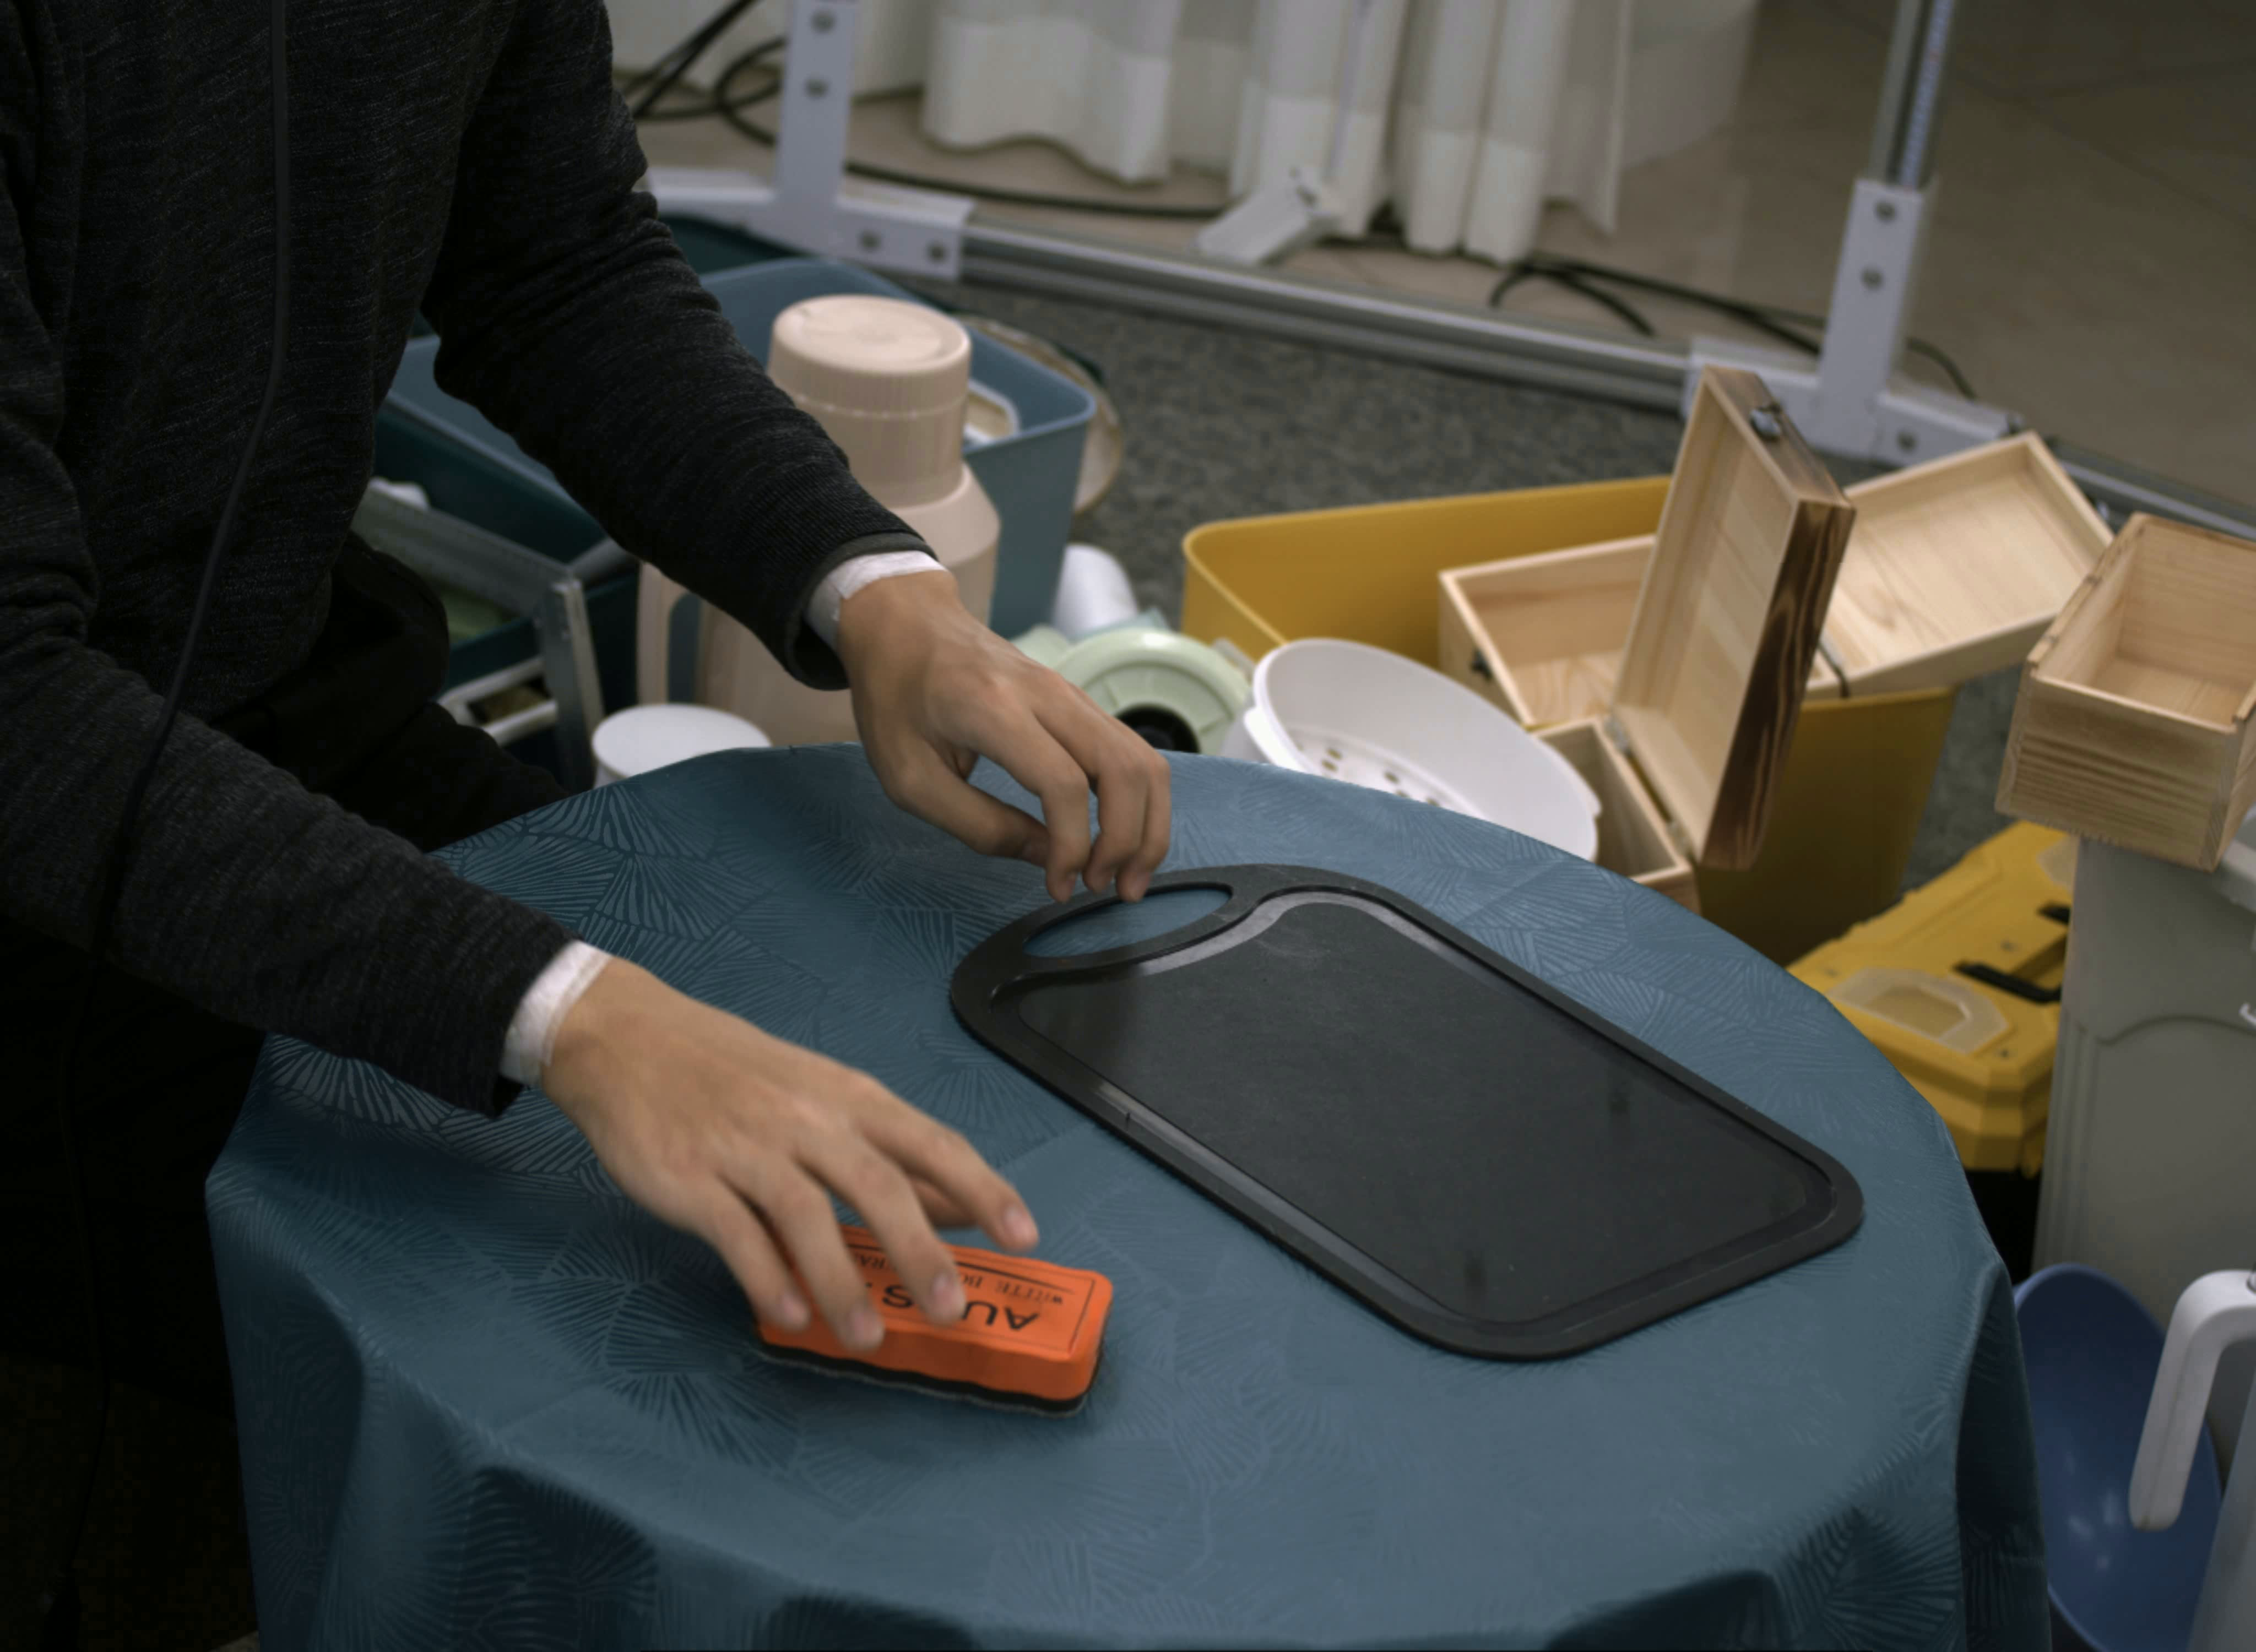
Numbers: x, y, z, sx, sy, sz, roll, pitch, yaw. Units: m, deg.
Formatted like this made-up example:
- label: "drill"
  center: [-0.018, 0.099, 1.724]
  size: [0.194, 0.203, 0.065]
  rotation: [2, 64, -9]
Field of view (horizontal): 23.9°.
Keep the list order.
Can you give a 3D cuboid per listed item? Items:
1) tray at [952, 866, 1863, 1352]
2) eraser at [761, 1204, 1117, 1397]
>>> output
- label: "tray"
  center: [0.089, 0.090, 1.880]
  size: [0.210, 0.010, 0.328]
  rotation: [-16, 34, -37]
- label: "eraser"
  center: [-0.060, 0.151, 1.693]
  size: [0.108, 0.023, 0.059]
  rotation: [9, 26, 6]
